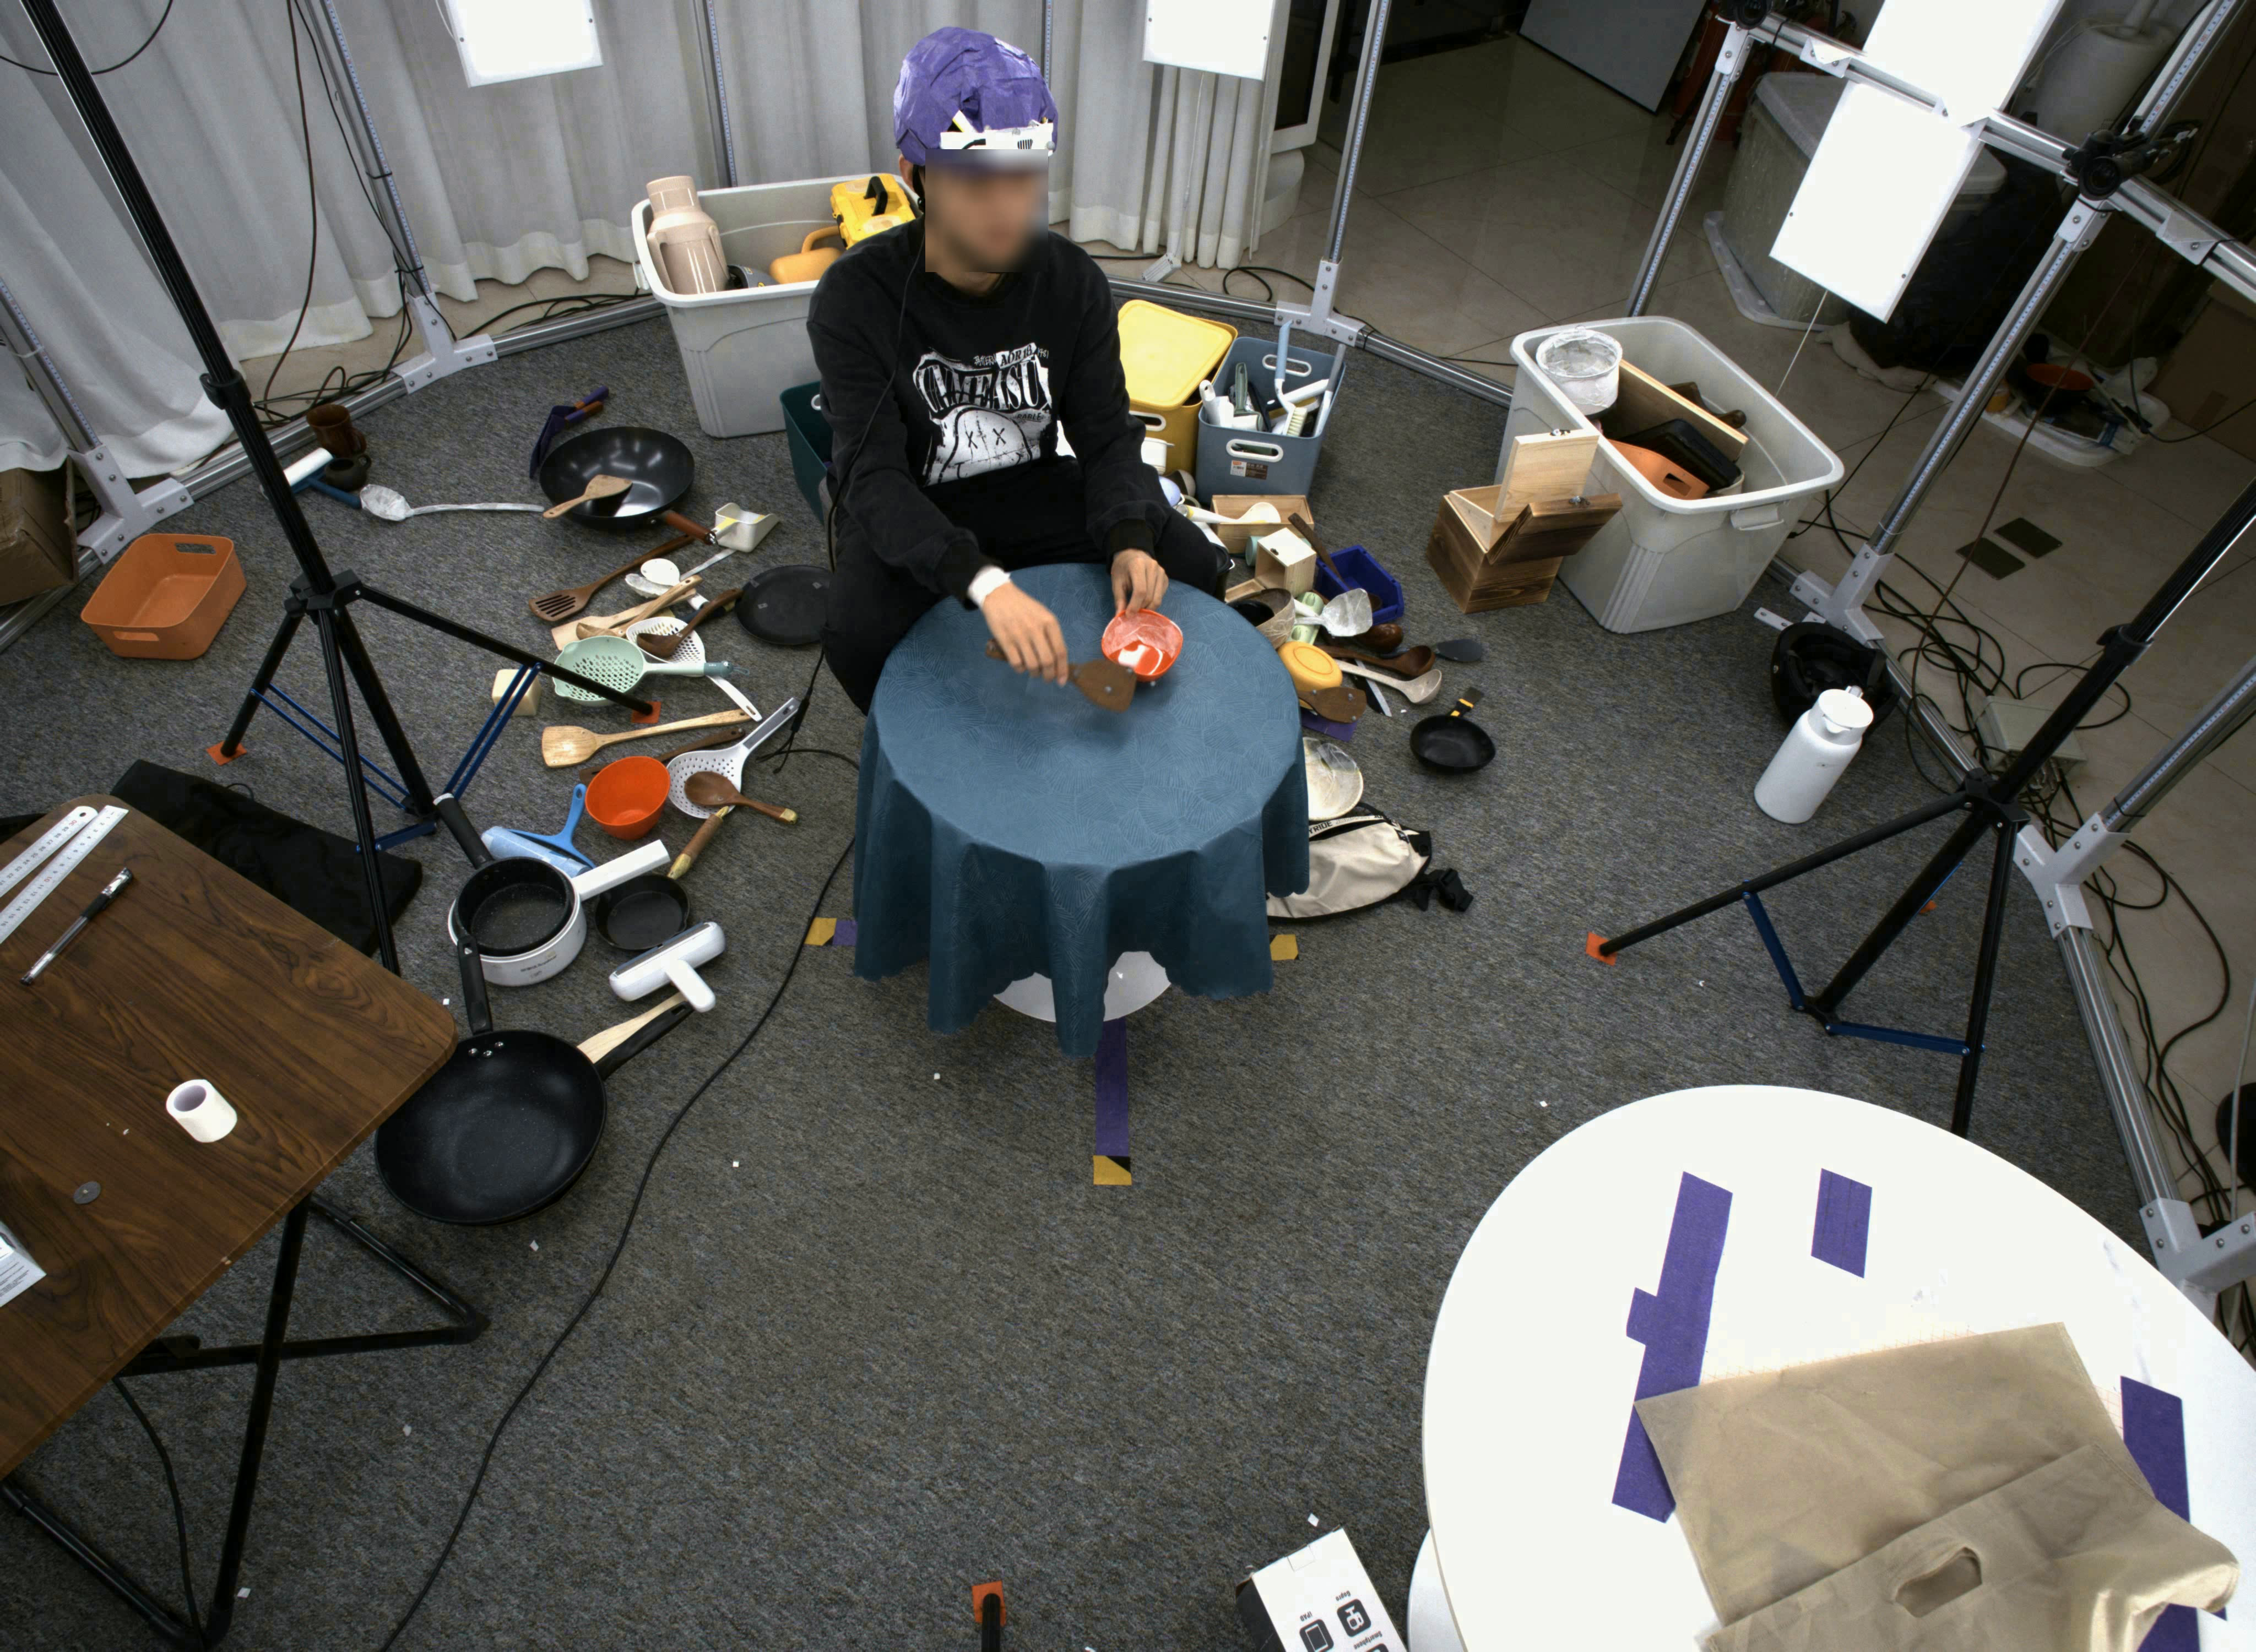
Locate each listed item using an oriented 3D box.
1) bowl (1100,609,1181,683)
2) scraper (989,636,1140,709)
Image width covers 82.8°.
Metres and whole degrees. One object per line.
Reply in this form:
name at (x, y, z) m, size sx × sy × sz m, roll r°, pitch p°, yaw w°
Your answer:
bowl at (0.016, -0.253, 1.866) m, size 0.119 × 0.050 × 0.121 m, roll 2°, pitch 63°, yaw -4°
scraper at (-0.087, -0.220, 1.765) m, size 0.210 × 0.010 × 0.077 m, roll 16°, pitch 70°, yaw -7°
